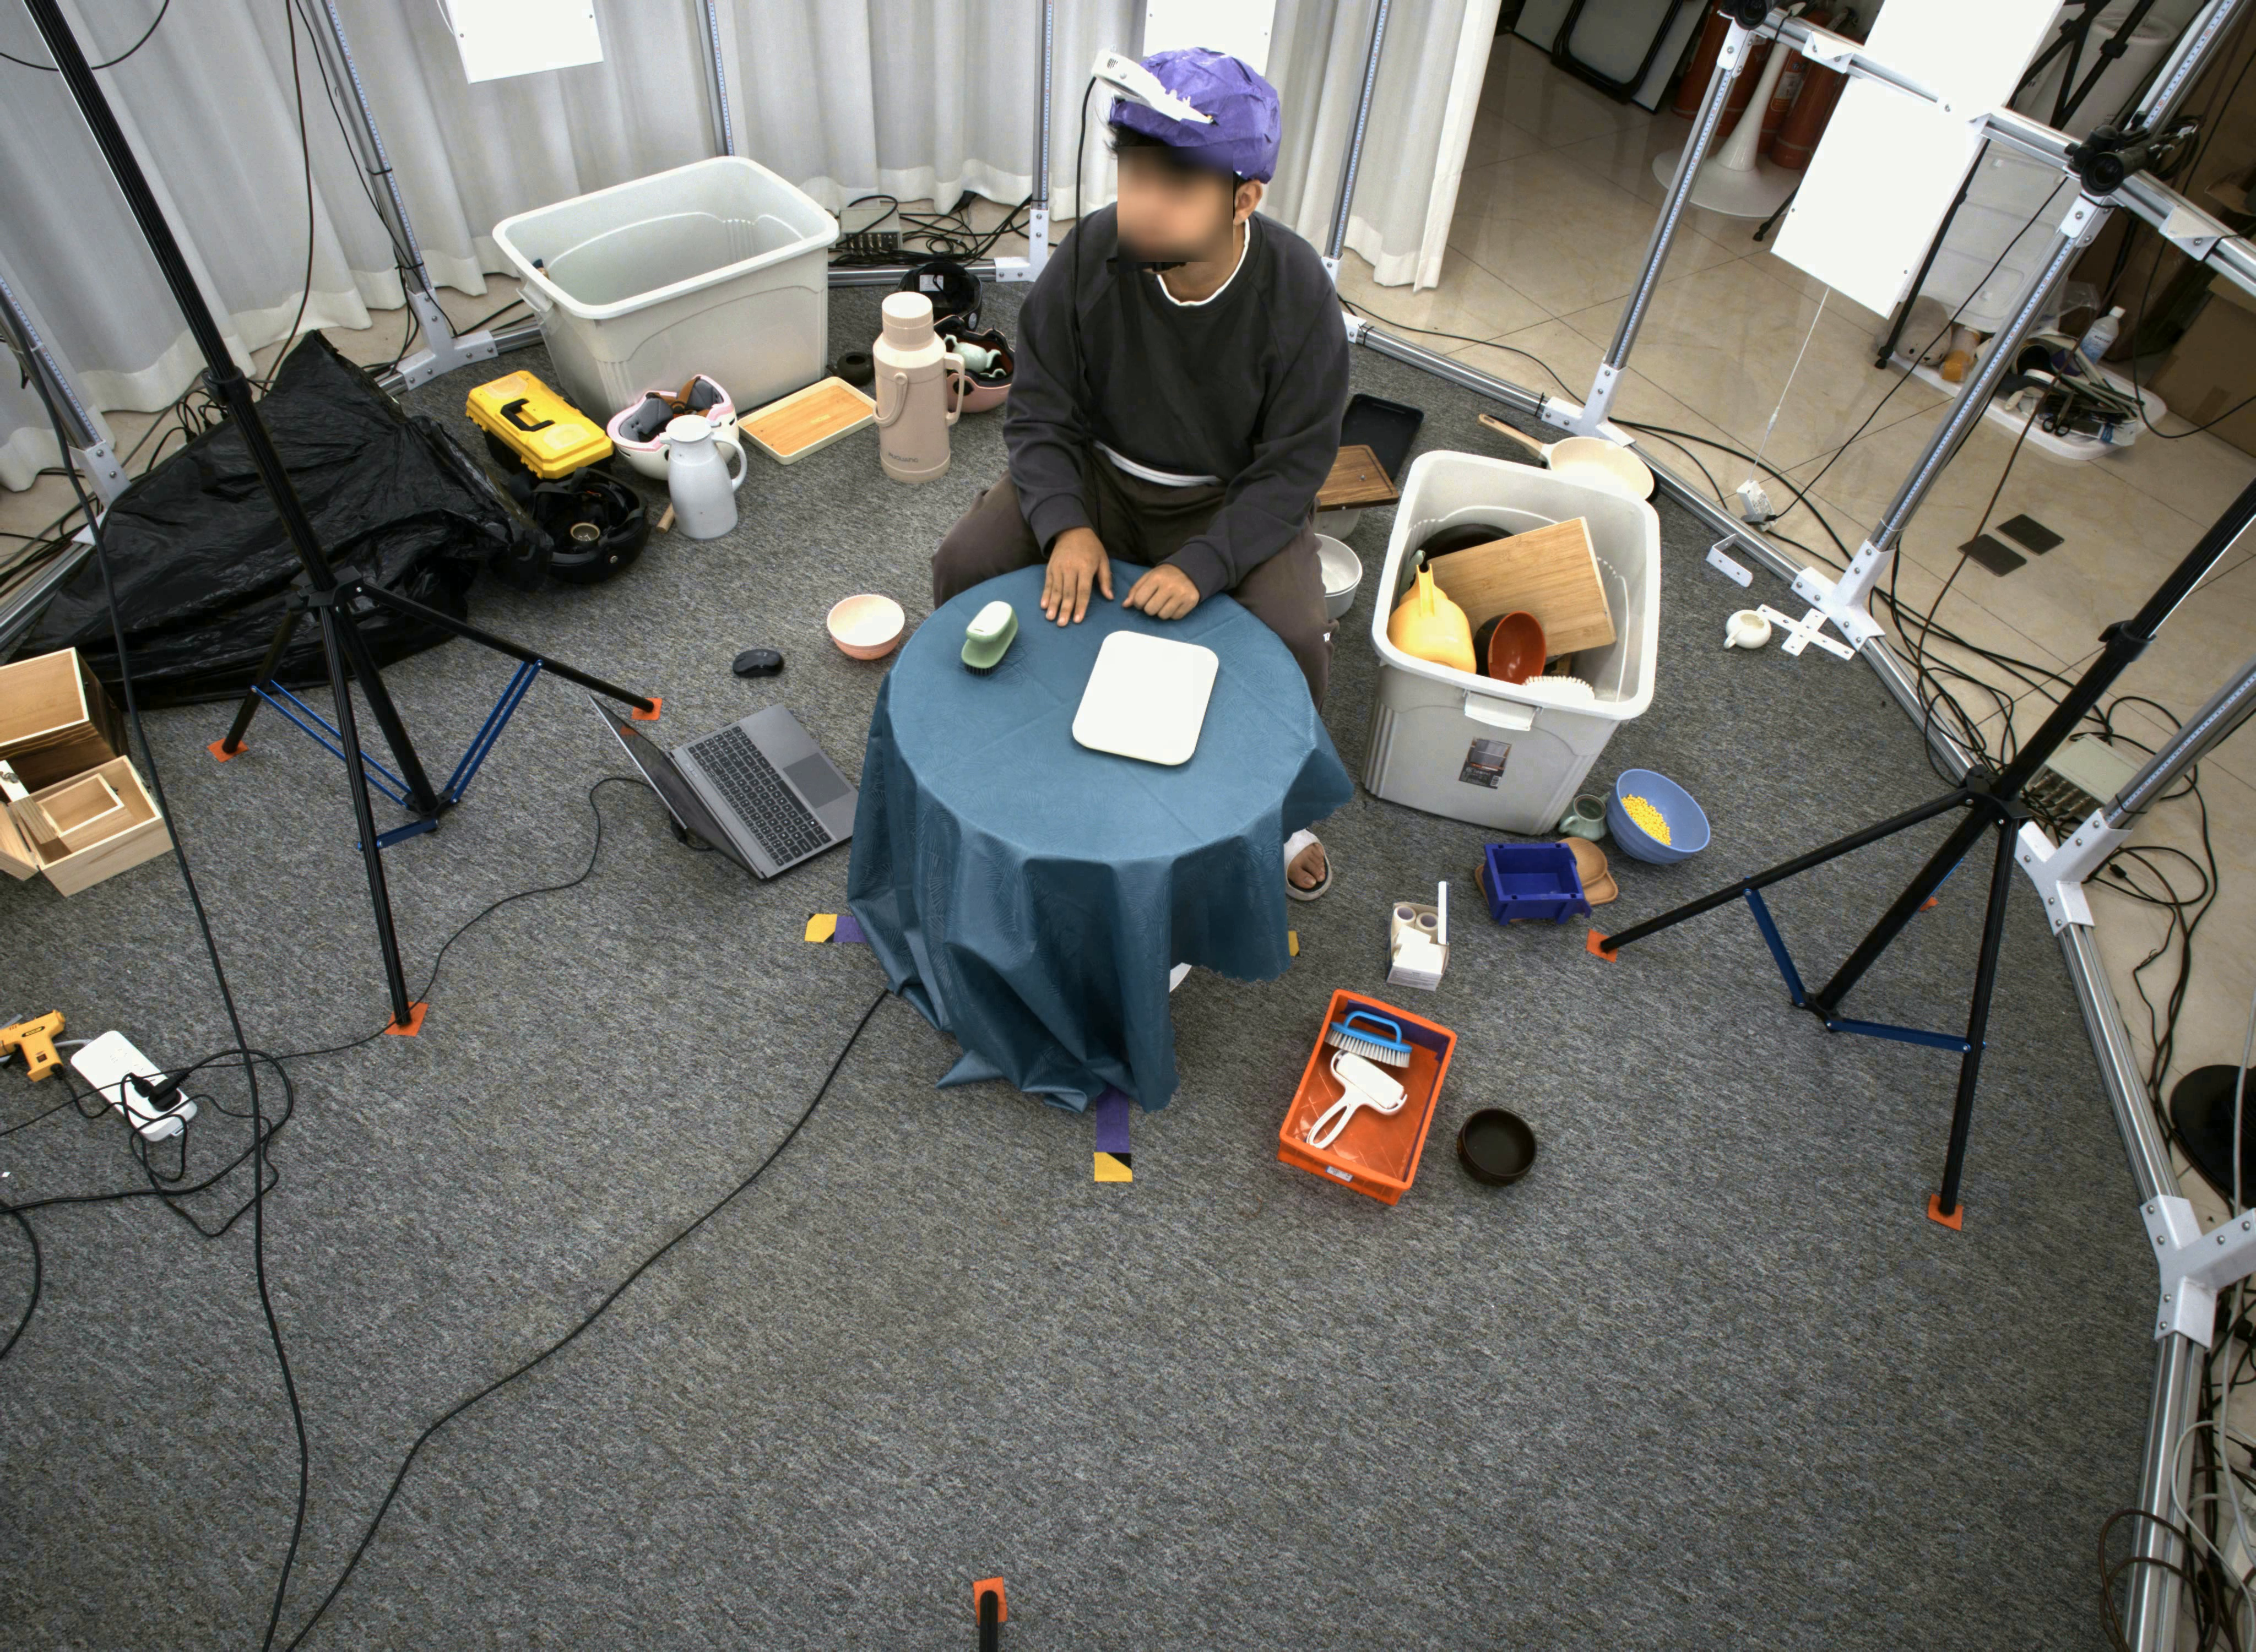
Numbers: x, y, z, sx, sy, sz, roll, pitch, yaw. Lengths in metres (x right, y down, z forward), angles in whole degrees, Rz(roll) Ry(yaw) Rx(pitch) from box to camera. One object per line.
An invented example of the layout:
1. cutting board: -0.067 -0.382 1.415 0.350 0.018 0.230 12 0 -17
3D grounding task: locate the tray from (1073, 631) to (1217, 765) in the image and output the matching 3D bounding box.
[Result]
1. tray: 0.027 -0.183 1.814 0.171 0.017 0.245 13 49 6

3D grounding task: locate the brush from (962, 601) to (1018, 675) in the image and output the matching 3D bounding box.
1. brush: -0.198 -0.272 1.852 0.060 0.074 0.125 16 36 8
